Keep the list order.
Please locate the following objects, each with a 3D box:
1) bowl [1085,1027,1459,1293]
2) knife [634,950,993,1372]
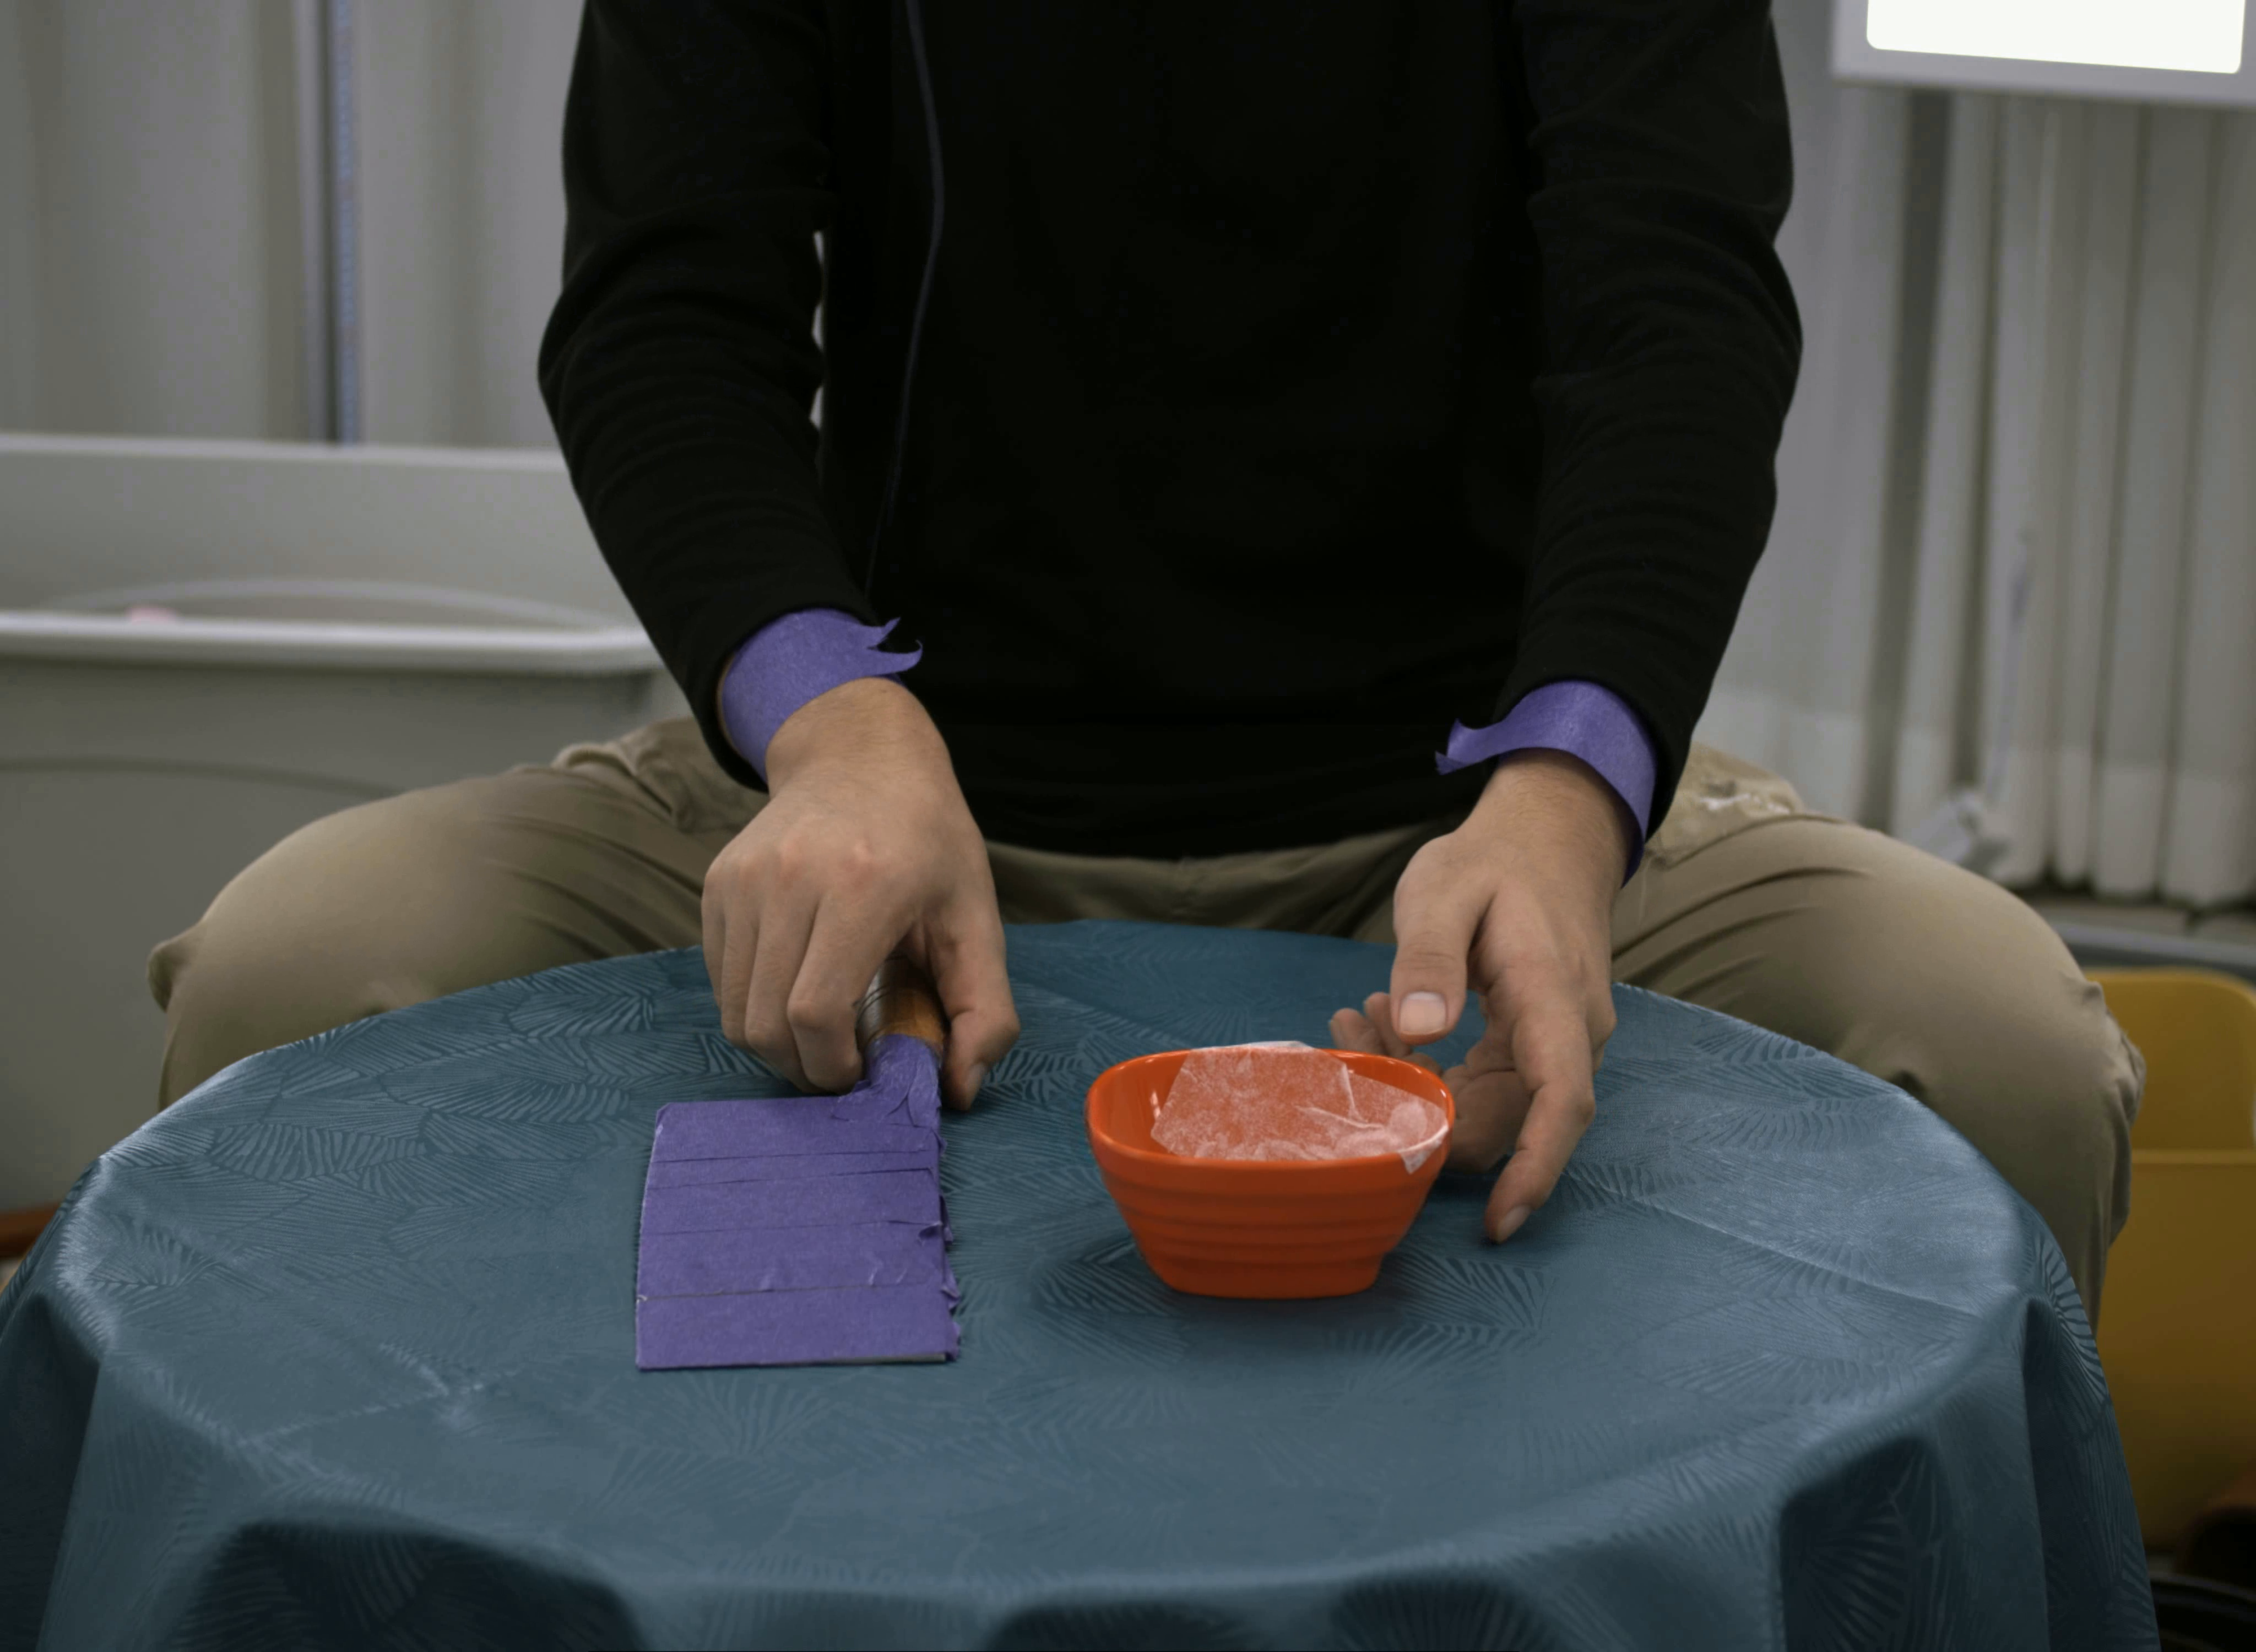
[{"bbox_3d":[0.043,0.101,1.556,0.118,0.052,0.118,-1,19,1],"label":"bowl"},{"bbox_3d":[-0.099,0.099,1.619,0.103,0.032,0.313,0,16,-4],"label":"knife"}]
